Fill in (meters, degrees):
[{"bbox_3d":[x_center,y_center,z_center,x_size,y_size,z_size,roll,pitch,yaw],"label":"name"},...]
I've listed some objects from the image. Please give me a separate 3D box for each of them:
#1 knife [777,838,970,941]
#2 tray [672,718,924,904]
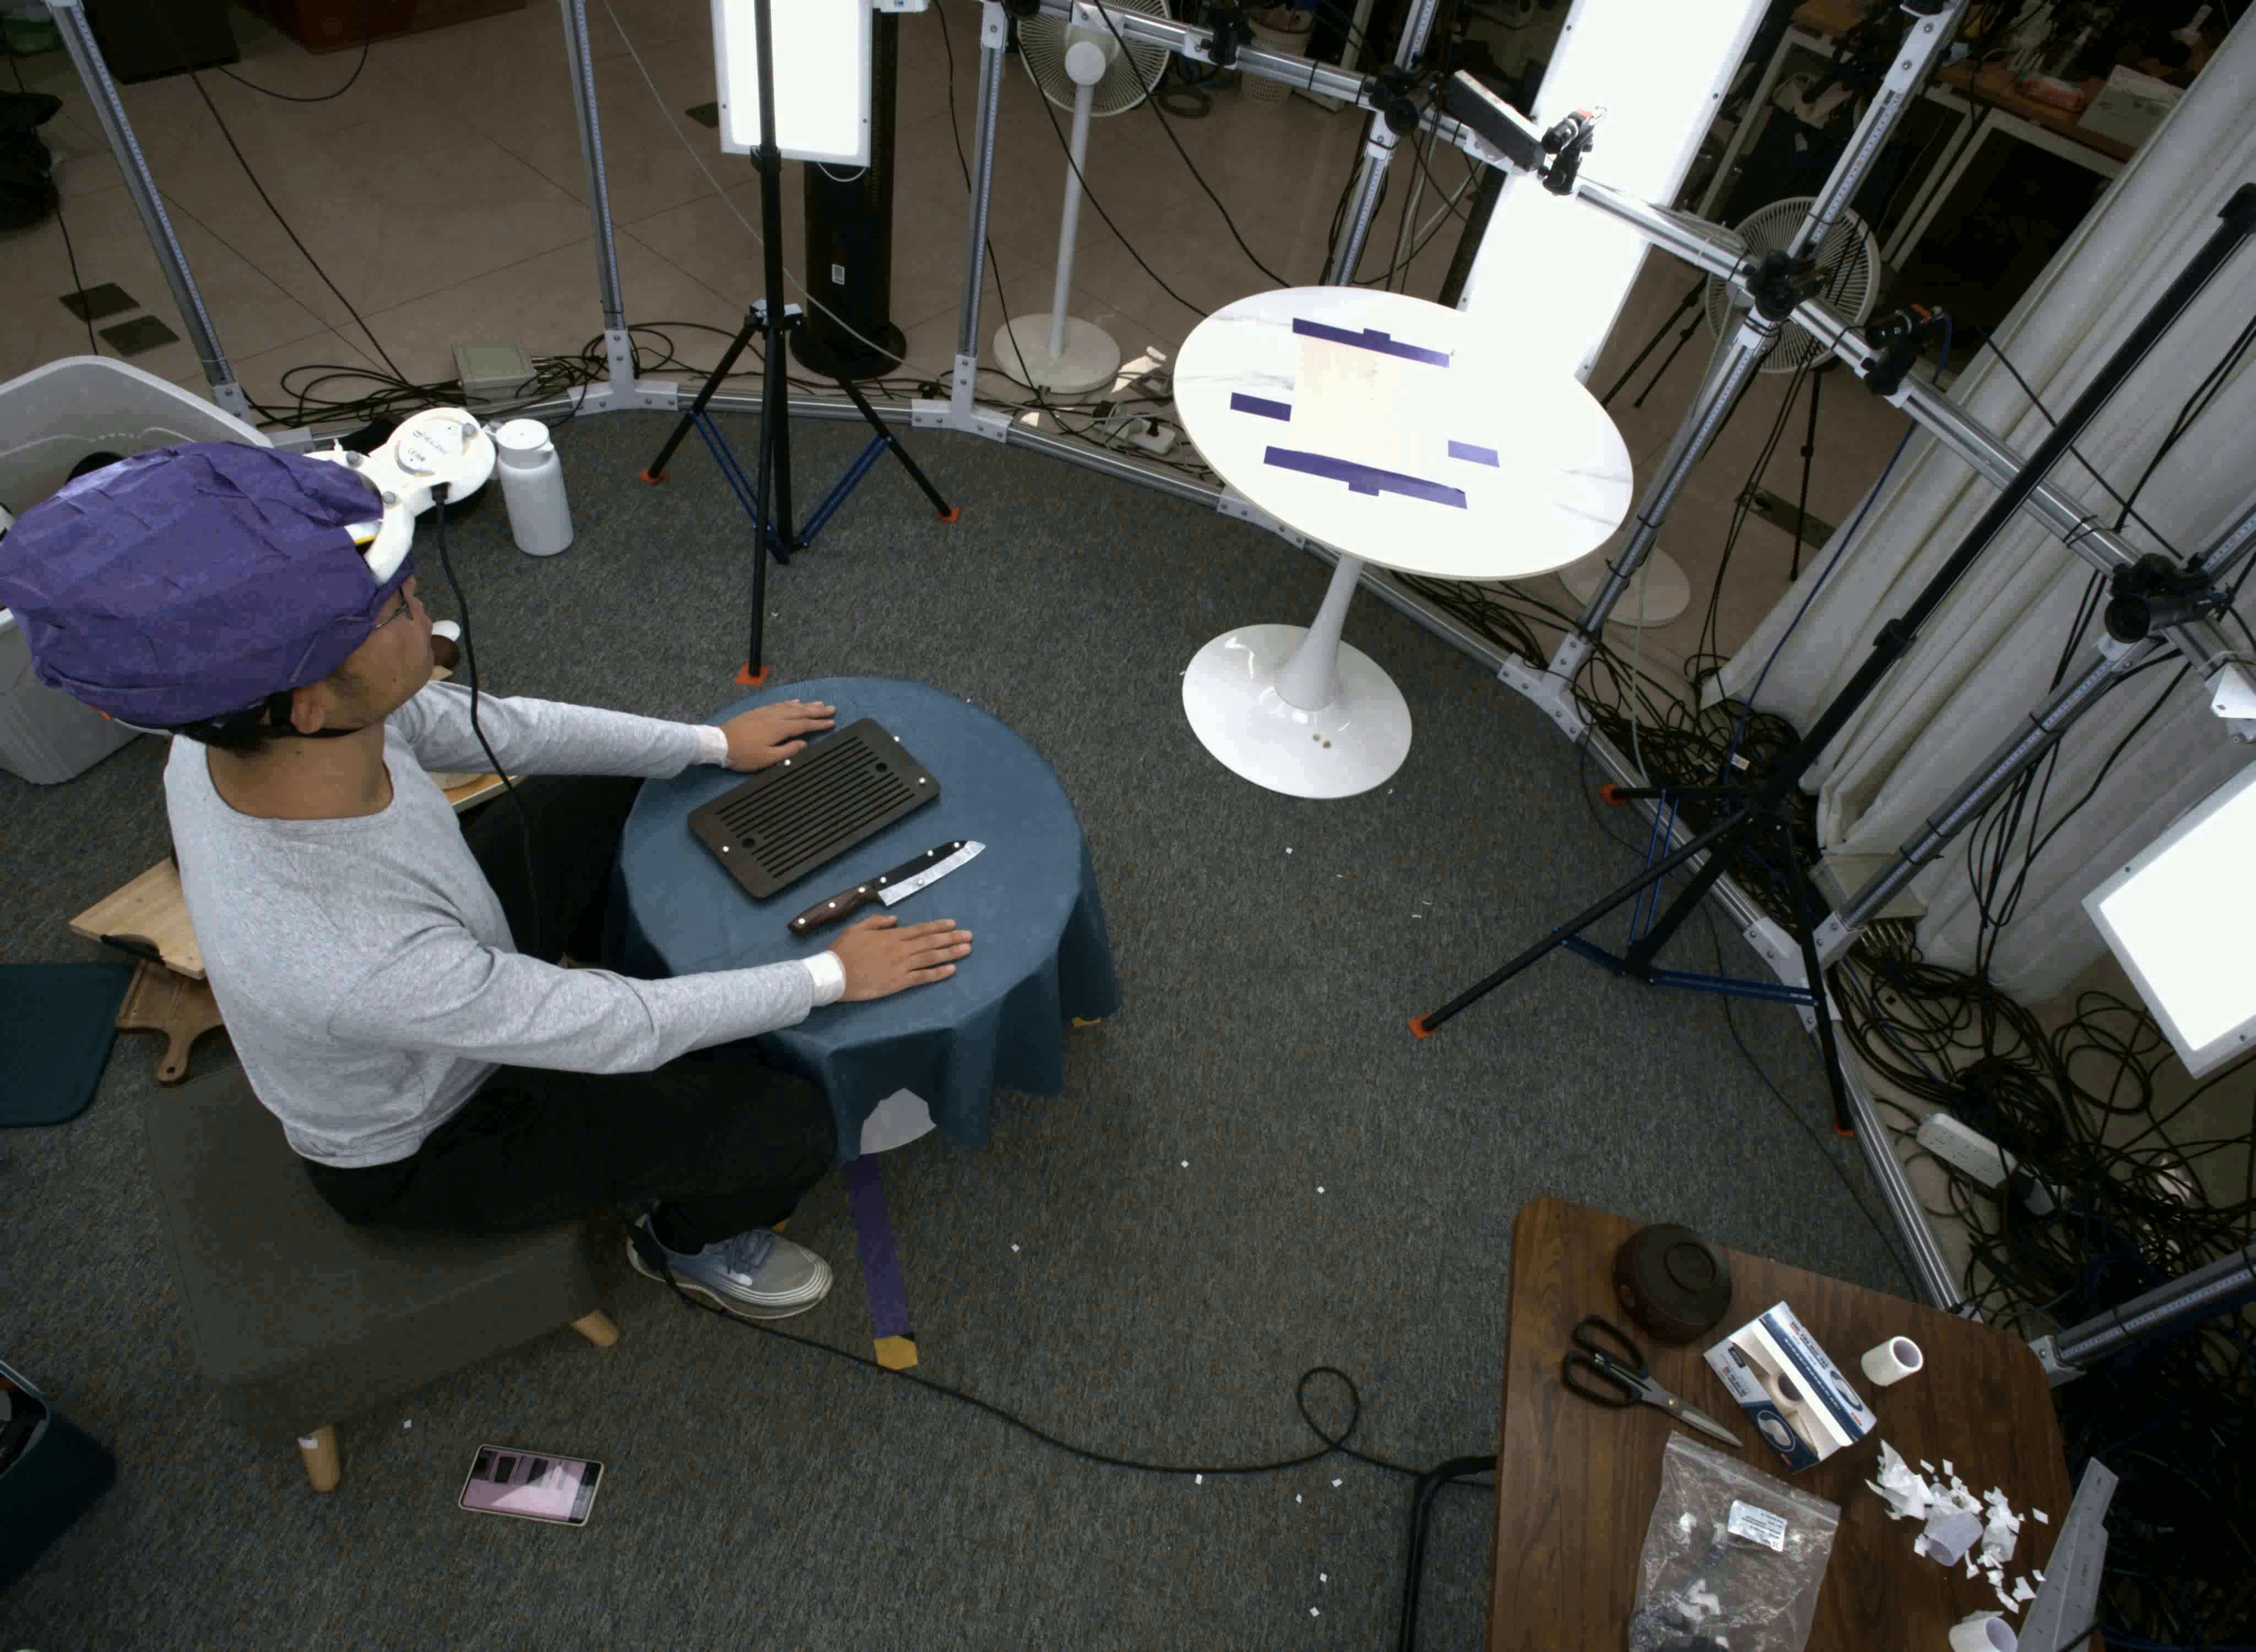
[{"bbox_3d":[-0.325,0.078,1.694,0.290,0.020,0.049,-27,69,-32],"label":"knife"},{"bbox_3d":[-0.439,-0.025,1.739,0.166,0.019,0.306,43,56,18],"label":"tray"}]
